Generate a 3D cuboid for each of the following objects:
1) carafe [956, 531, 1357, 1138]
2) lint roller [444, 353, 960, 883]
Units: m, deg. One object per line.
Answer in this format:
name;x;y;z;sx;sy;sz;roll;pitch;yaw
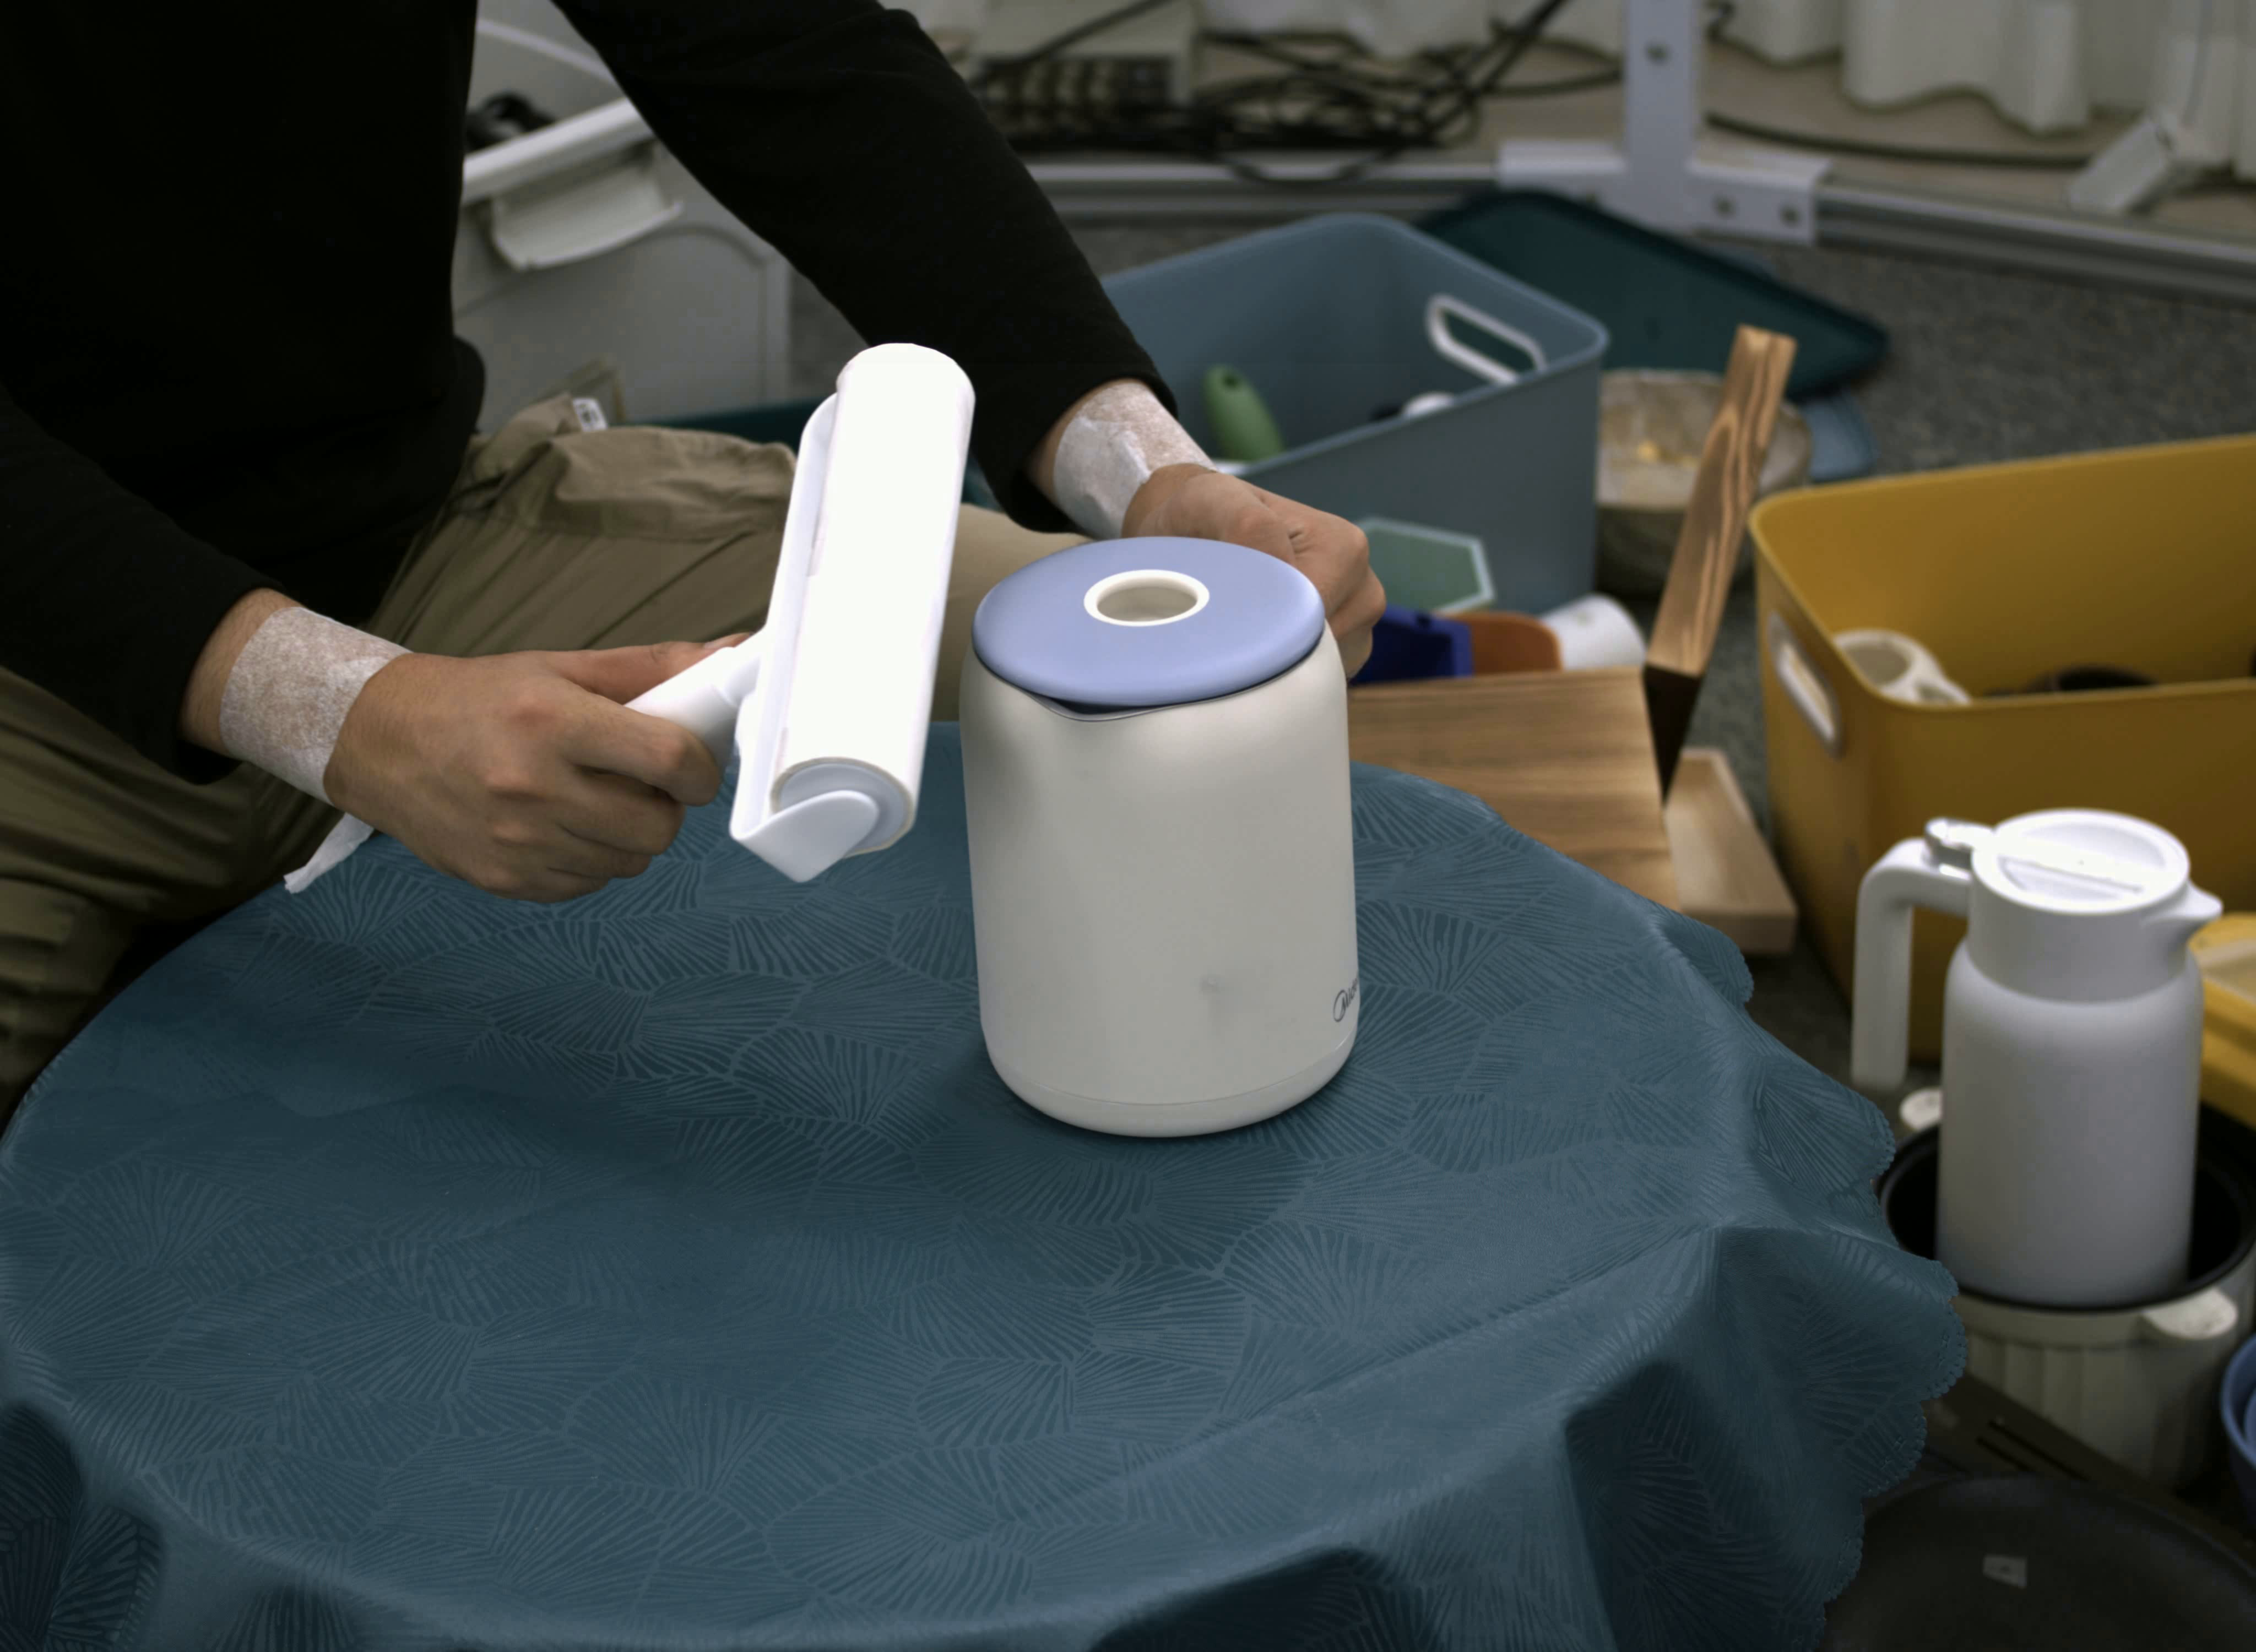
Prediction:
carafe;0.017;-0.009;1.926;0.131;0.181;0.194;5;26;16
lint roller;-0.153;-0.041;1.888;0.222;0.048;0.207;-26;38;29
